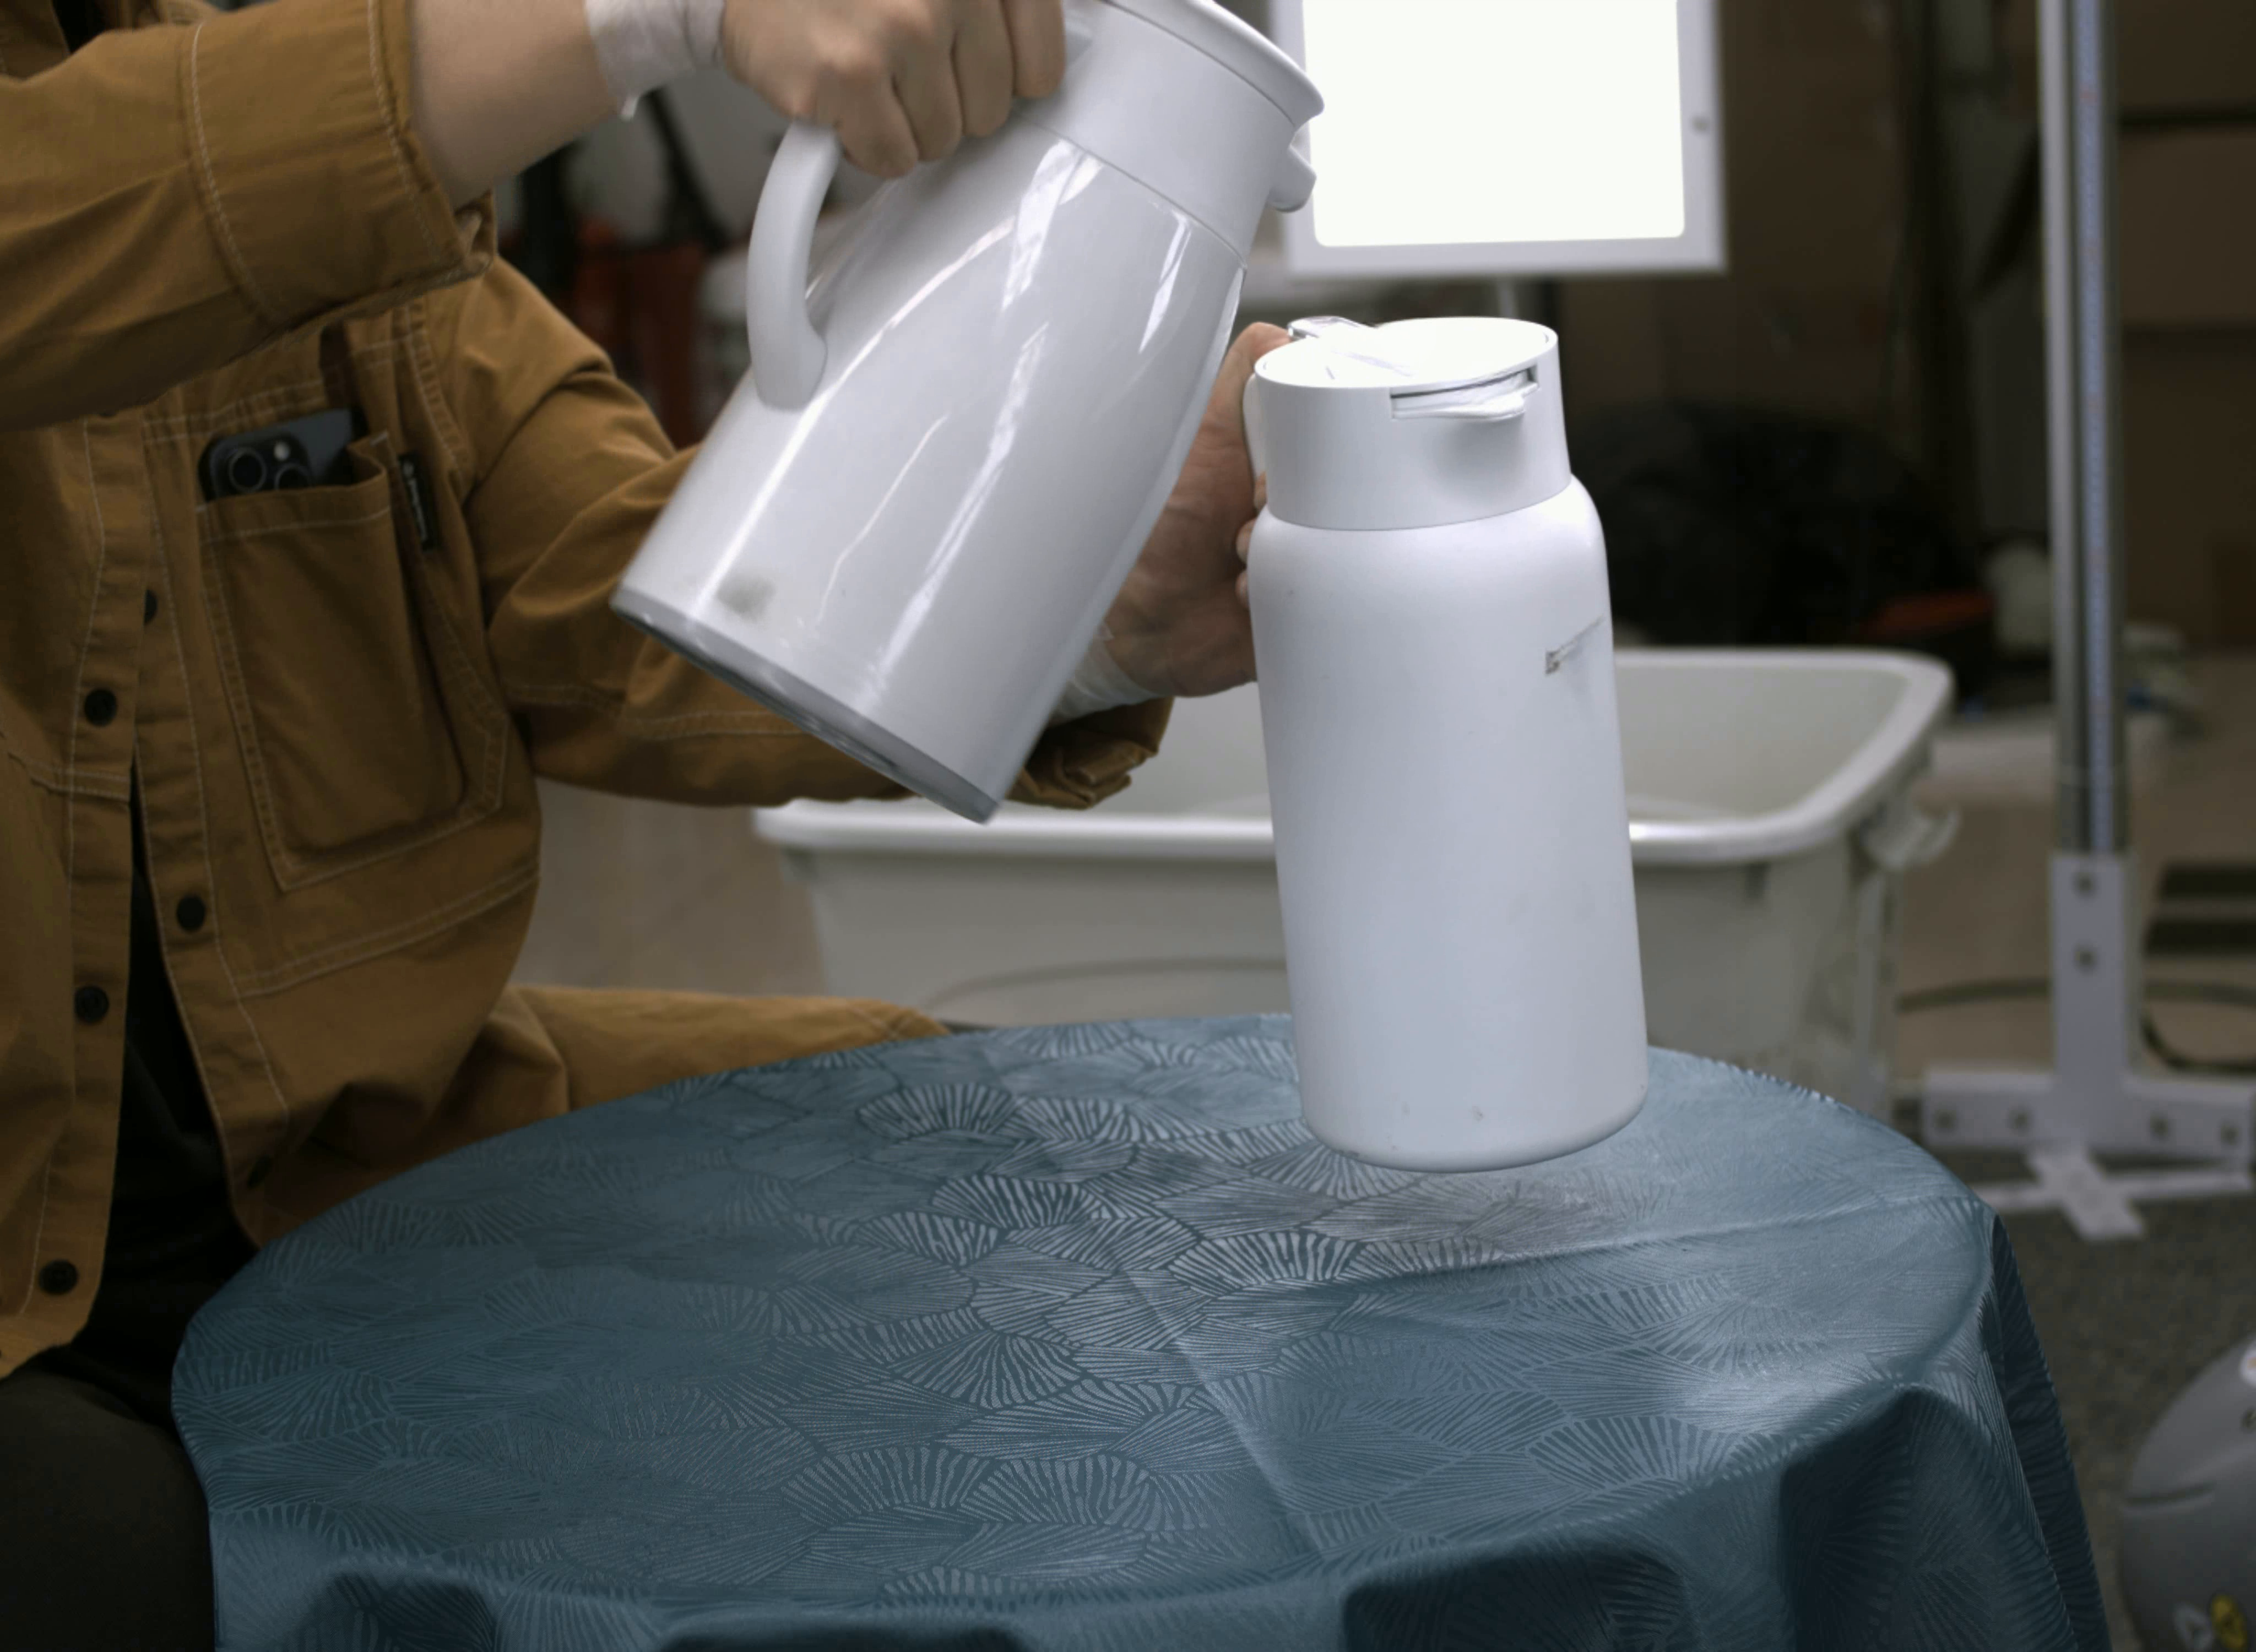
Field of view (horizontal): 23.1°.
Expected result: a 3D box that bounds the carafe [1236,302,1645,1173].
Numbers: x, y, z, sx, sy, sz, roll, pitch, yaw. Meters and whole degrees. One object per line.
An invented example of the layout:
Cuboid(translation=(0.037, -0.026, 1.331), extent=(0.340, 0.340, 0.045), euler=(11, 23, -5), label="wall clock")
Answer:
Cuboid(translation=(0.093, -0.032, 1.811), extent=(0.121, 0.269, 0.175), euler=(-16, 18, -21), label="carafe")

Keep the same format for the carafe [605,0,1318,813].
Cuboid(translation=(-0.050, -0.150, 1.639), extent=(0.164, 0.249, 0.135), euler=(32, -3, -40), label="carafe")
